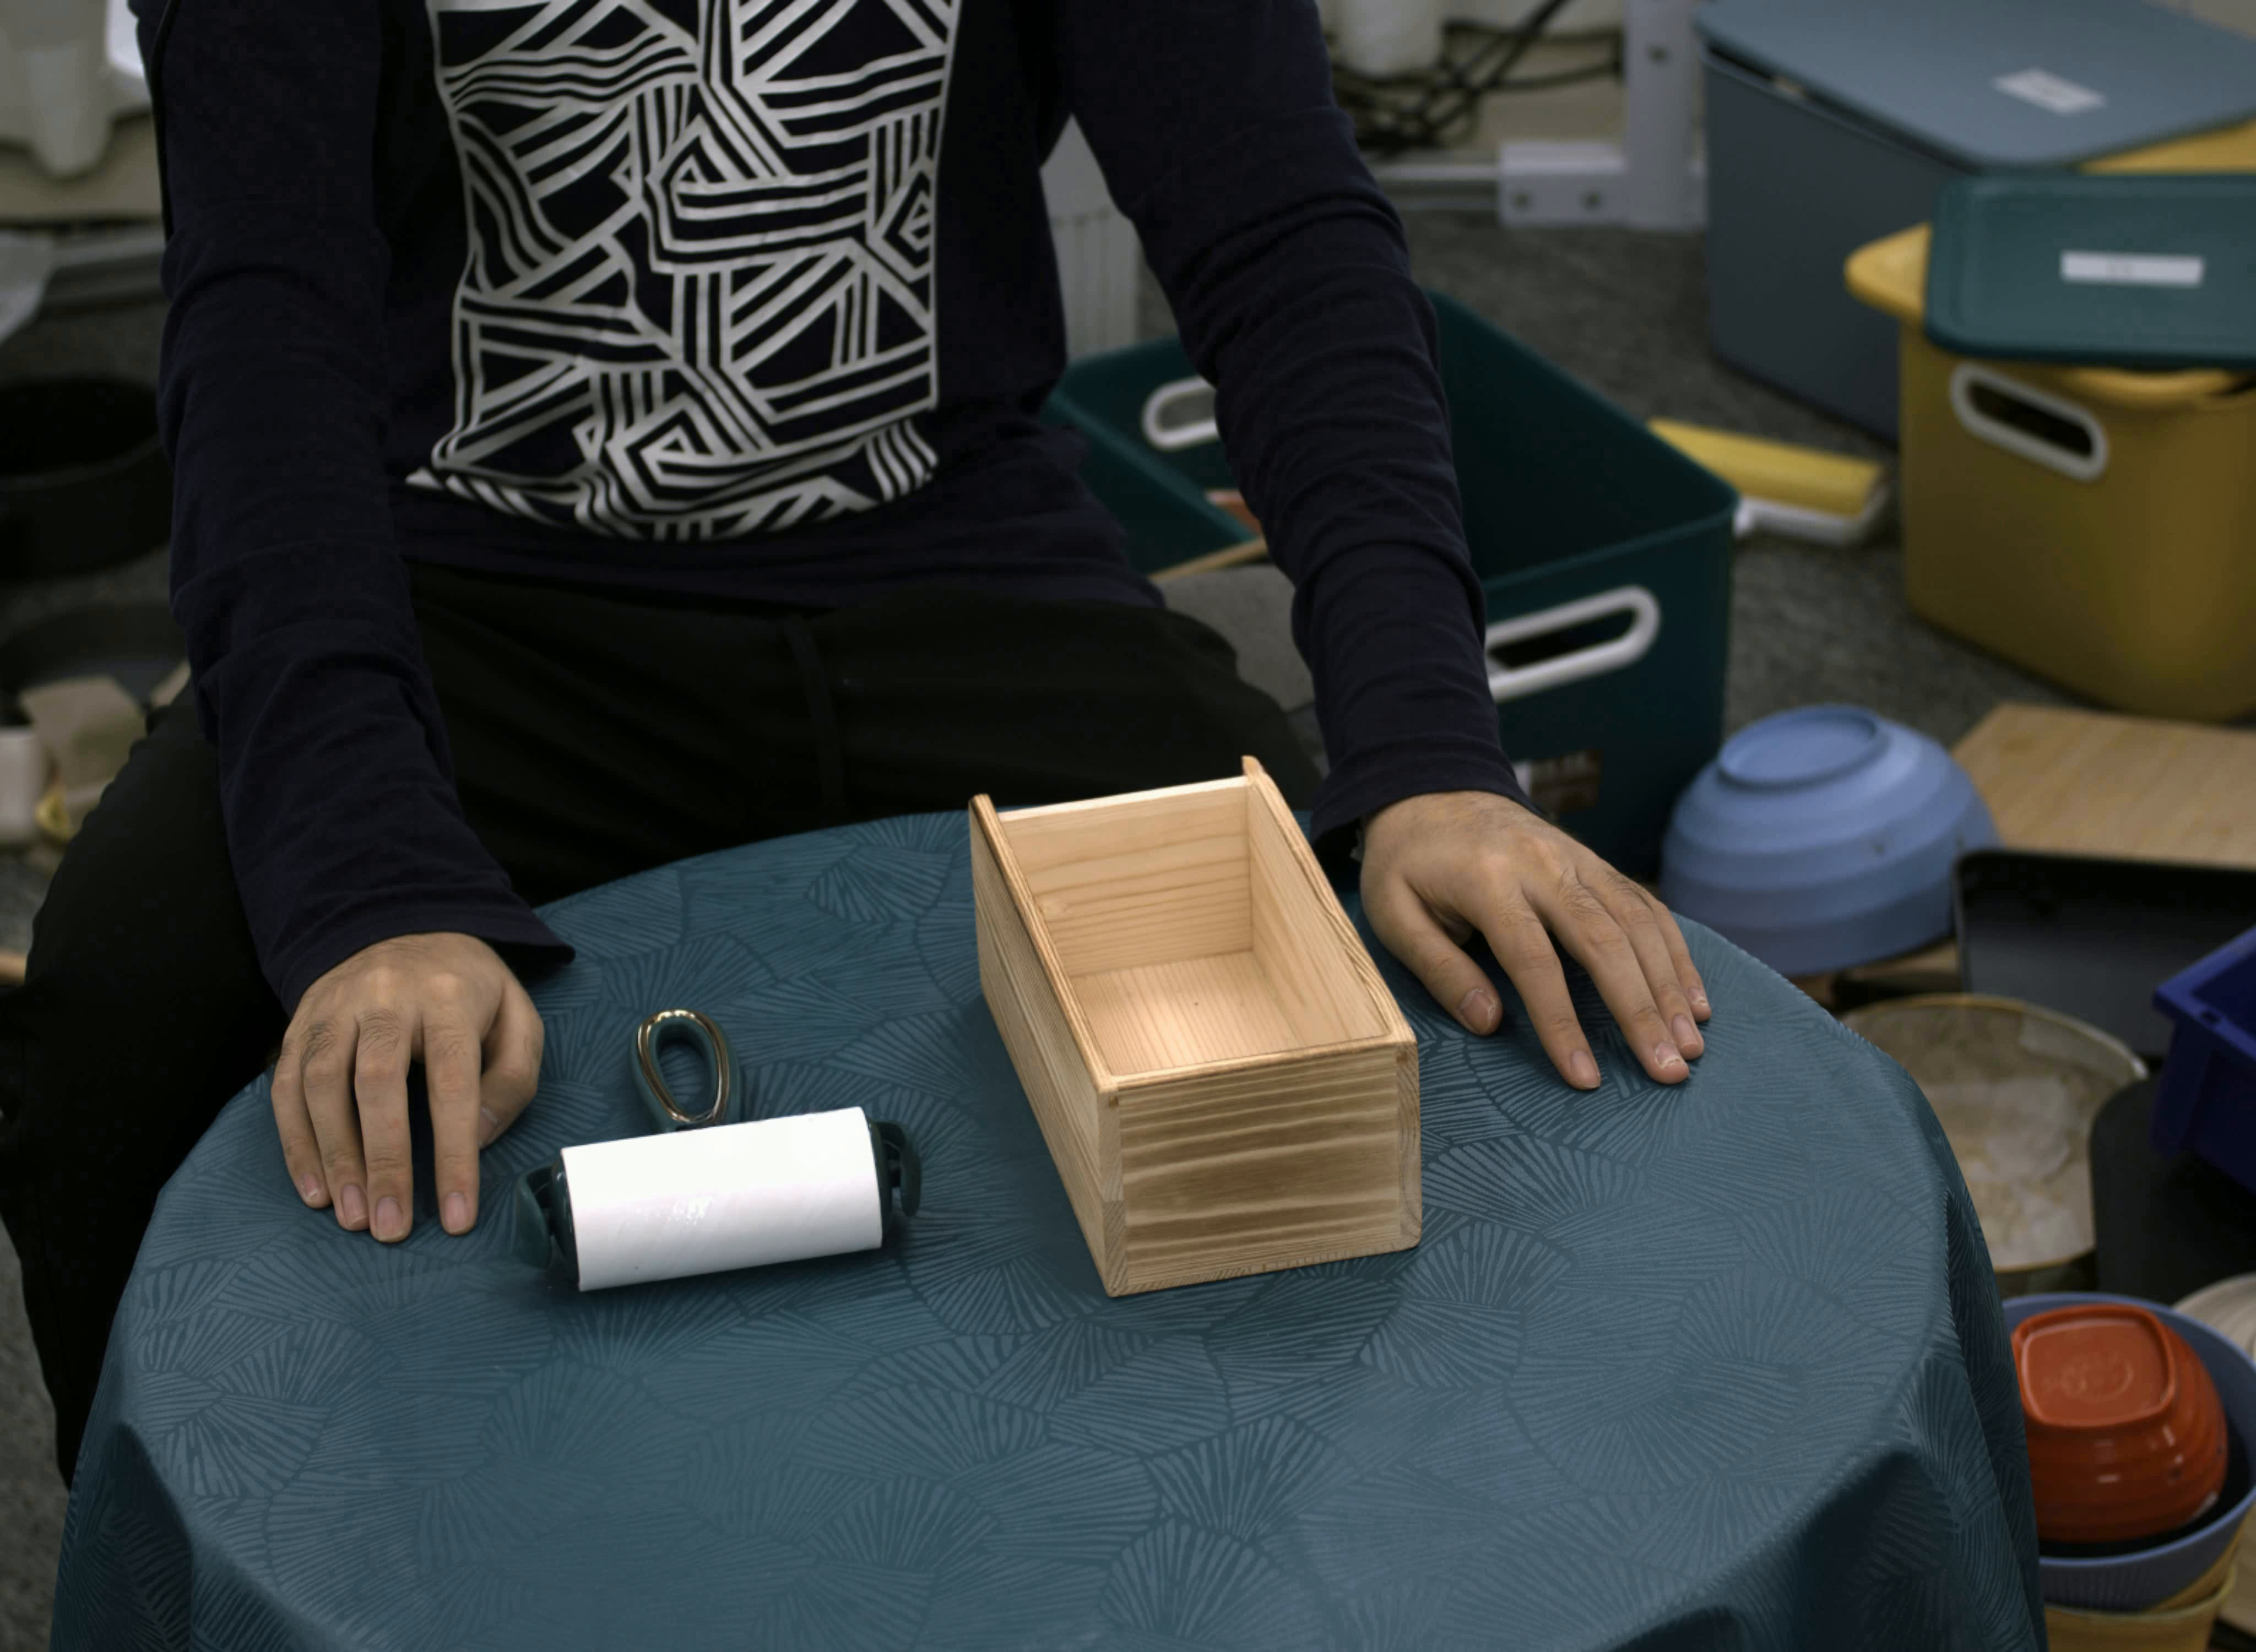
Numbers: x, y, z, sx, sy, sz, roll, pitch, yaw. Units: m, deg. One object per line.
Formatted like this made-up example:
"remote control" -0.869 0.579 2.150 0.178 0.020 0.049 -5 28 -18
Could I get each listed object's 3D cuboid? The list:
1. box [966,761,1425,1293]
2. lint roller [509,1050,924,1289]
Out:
"box" 0.020 0.064 1.886 0.107 0.079 0.213 -9 26 -10
"lint roller" -0.146 0.096 1.884 0.134 0.048 0.182 -8 23 -9
